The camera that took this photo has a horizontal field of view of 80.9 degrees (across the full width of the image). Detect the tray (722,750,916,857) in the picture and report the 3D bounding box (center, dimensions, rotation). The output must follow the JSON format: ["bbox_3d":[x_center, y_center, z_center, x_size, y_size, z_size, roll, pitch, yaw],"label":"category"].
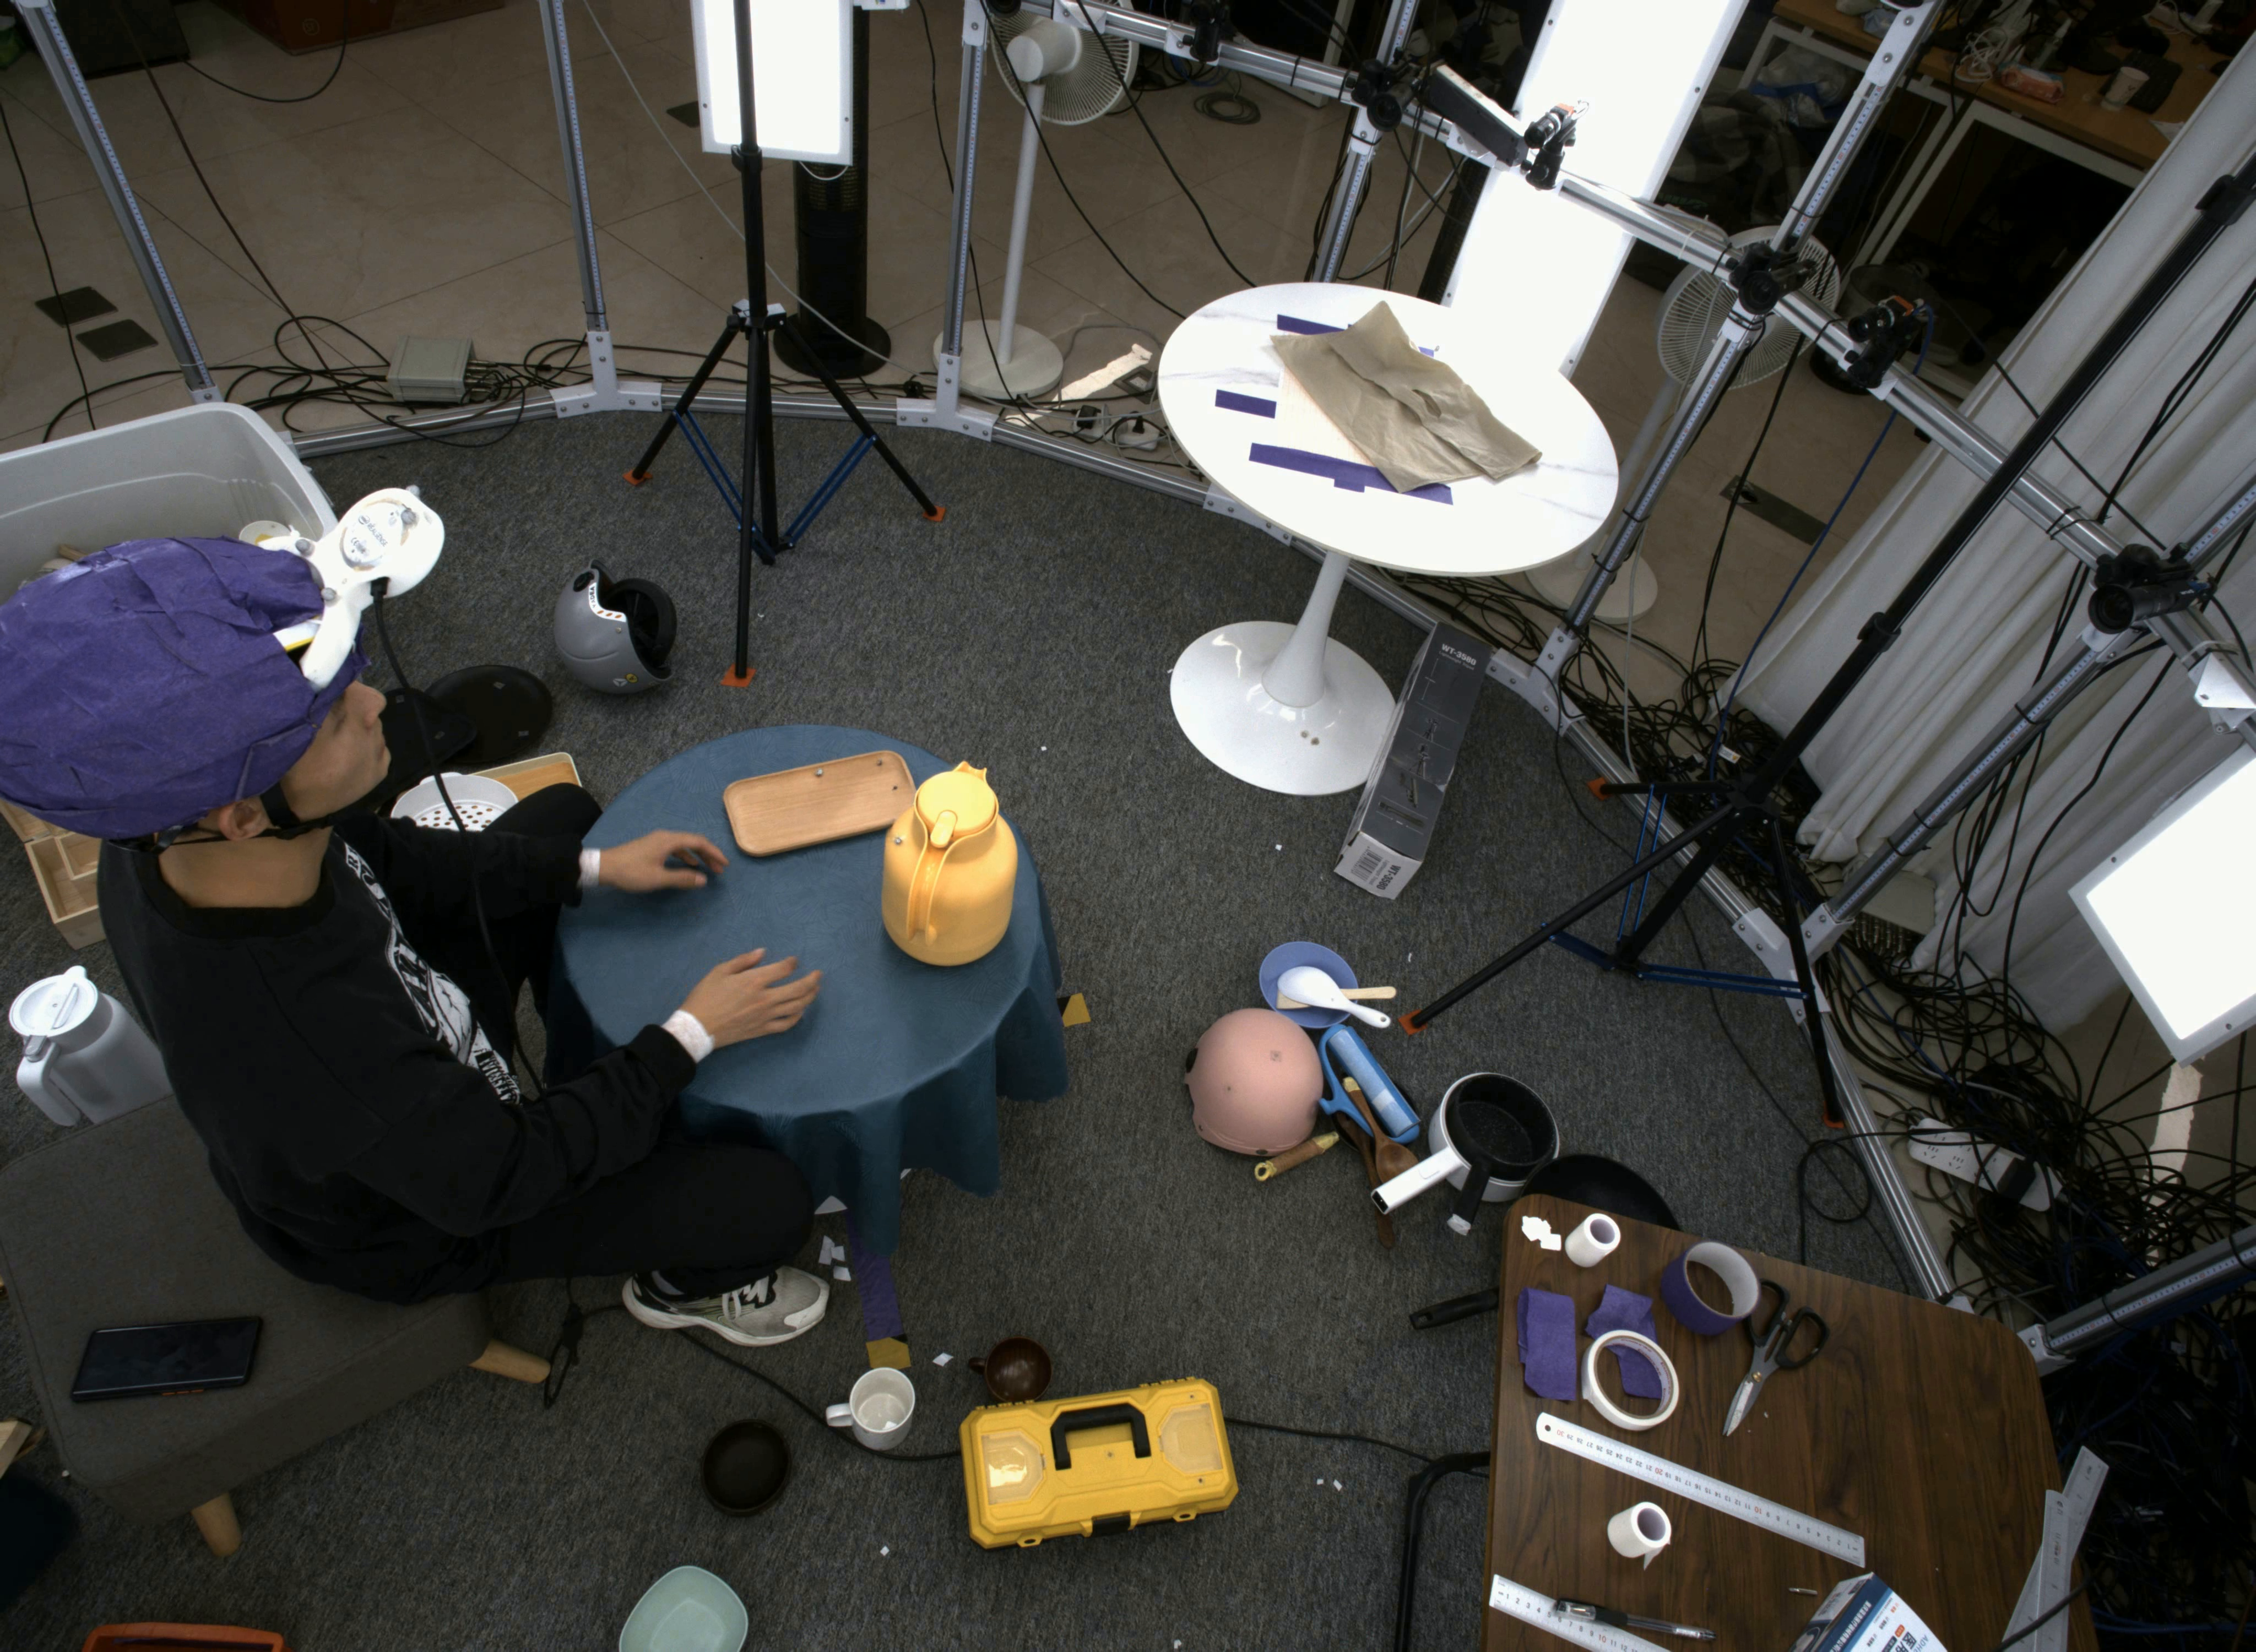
[{"bbox_3d":[-0.410,-0.032,1.738,0.252,0.023,0.127,-13,56,-22],"label":"tray"}]

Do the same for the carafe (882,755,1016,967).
[{"bbox_3d":[-0.223,0.055,1.564,0.161,0.267,0.200,17,49,4],"label":"carafe"}]
